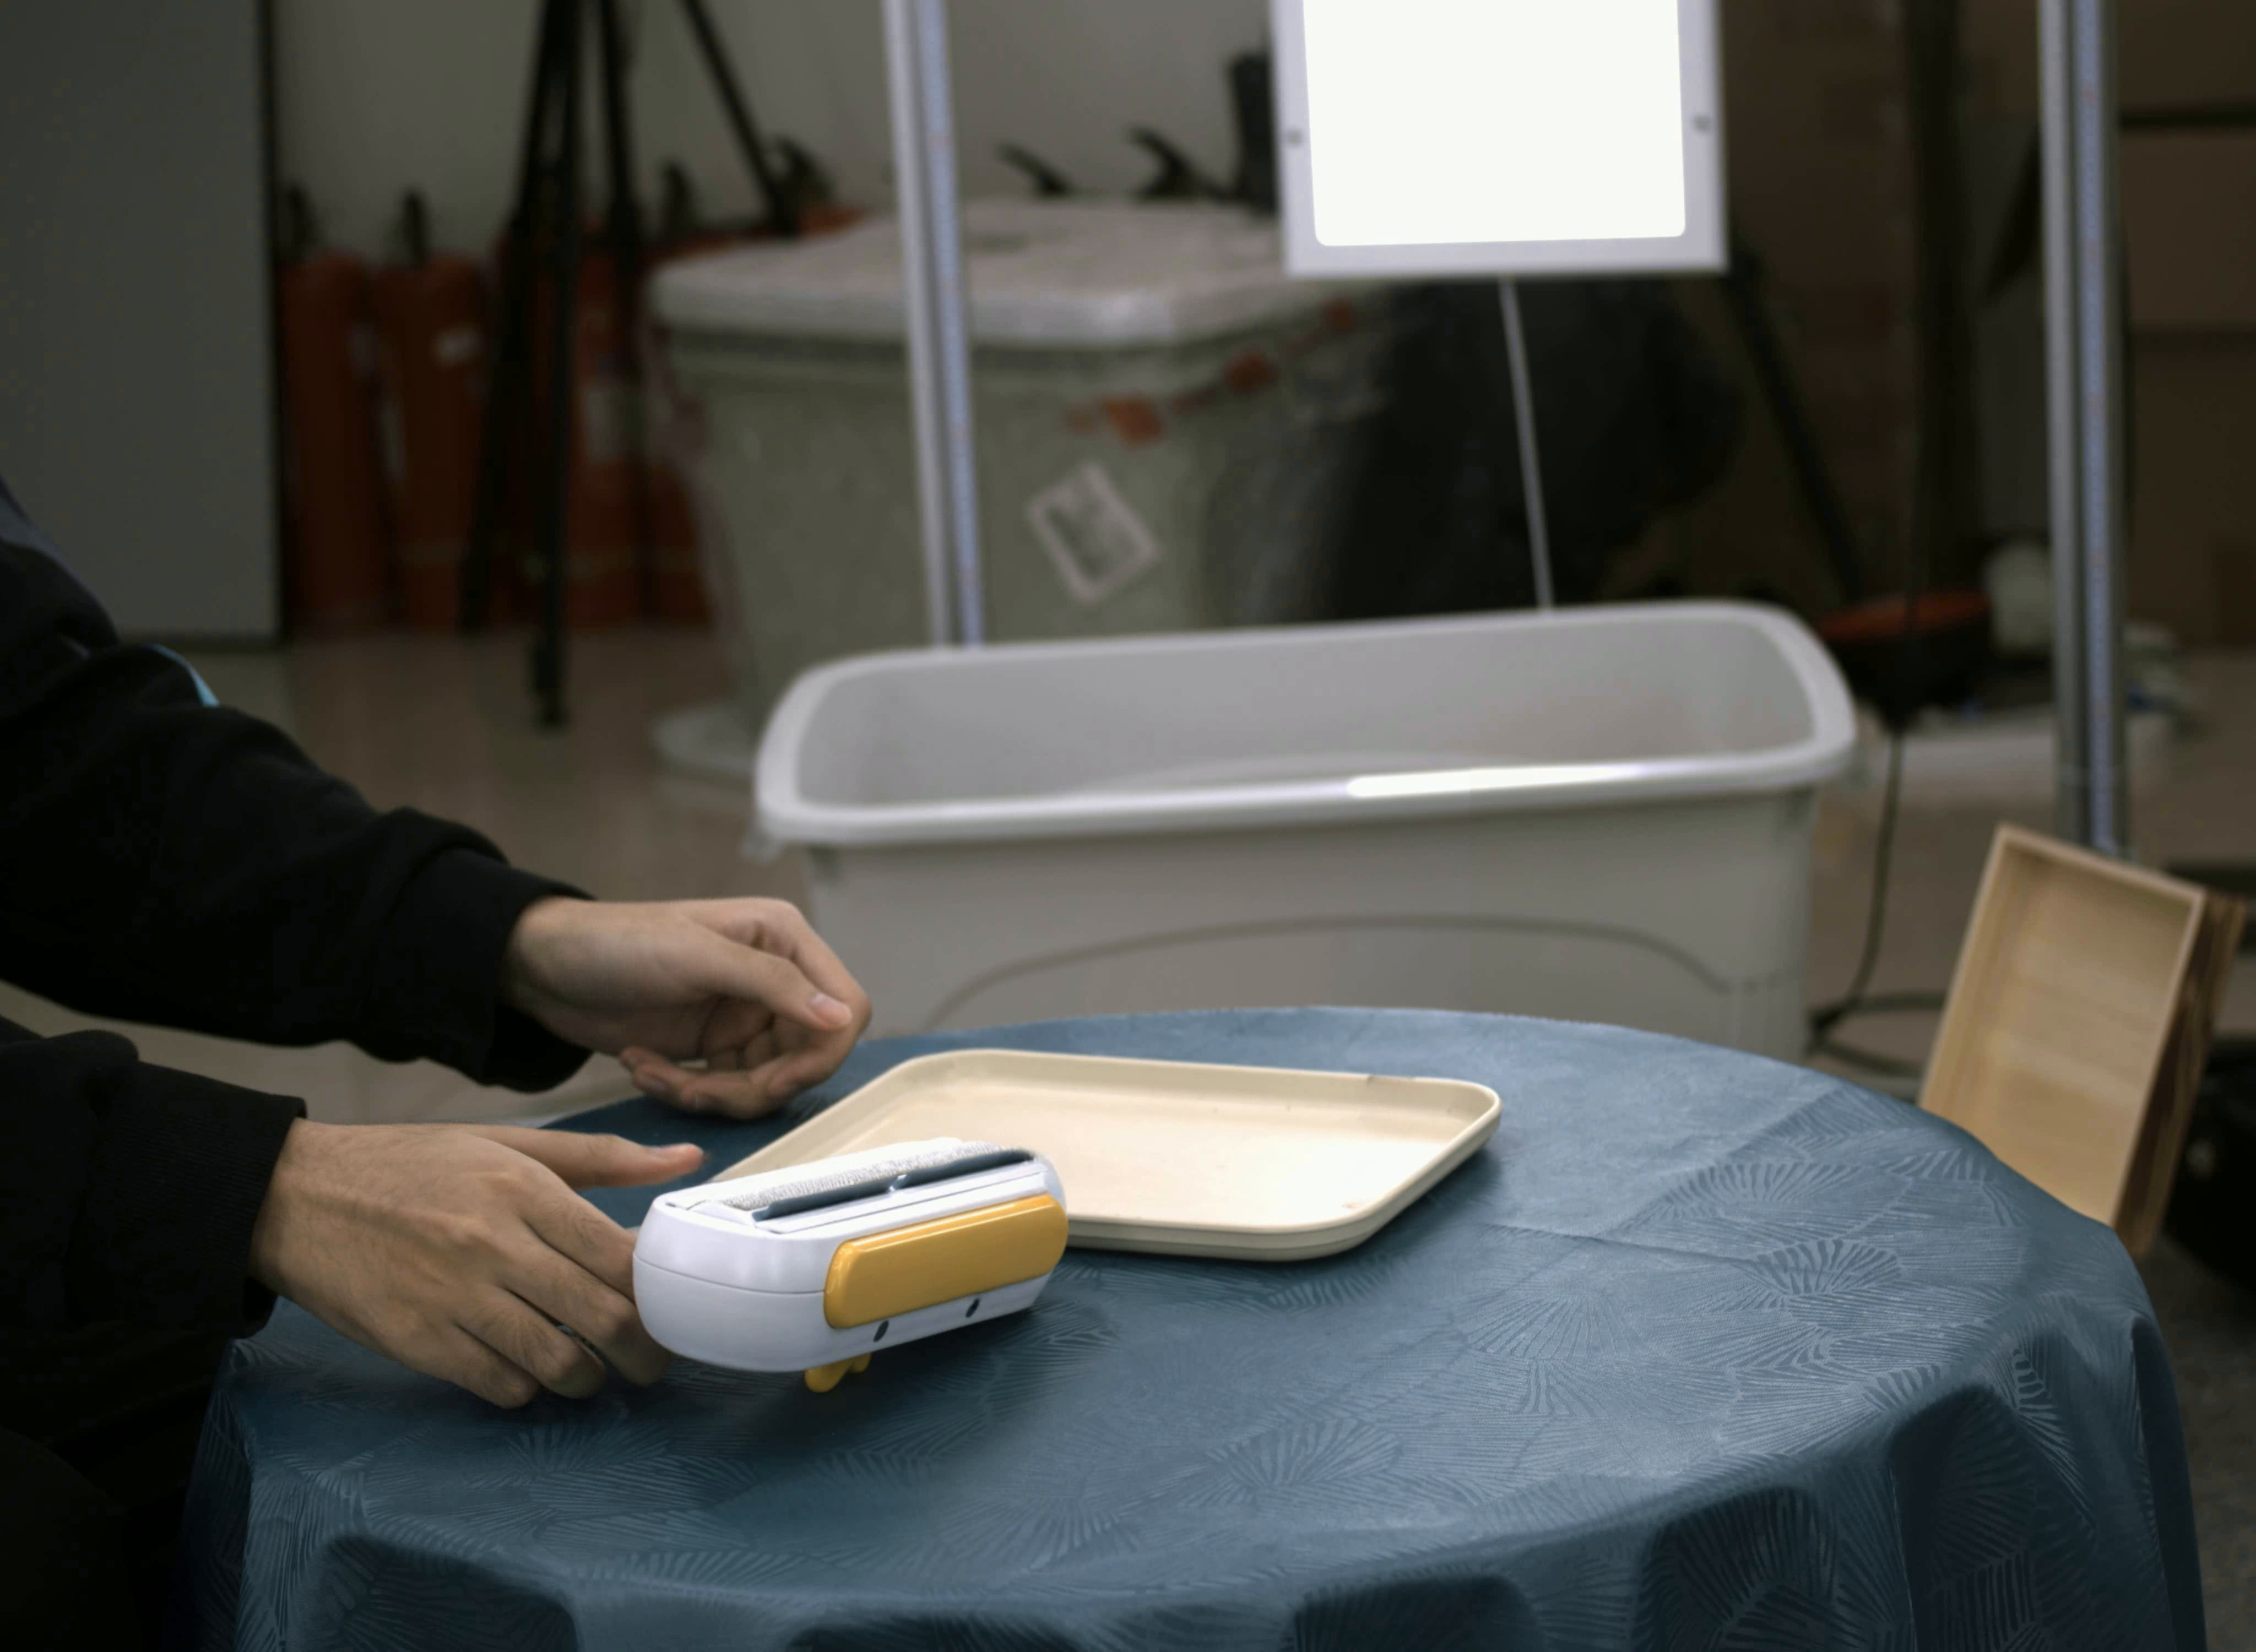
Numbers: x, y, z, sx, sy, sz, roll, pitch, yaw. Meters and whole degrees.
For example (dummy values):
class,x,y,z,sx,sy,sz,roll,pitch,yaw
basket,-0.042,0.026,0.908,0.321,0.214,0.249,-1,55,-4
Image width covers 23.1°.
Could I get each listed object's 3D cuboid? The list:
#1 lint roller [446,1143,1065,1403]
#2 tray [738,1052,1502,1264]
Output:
class,x,y,z,sx,sy,sz,roll,pitch,yaw
lint roller,-0.138,0.139,1.753,0.196,0.074,0.188,2,9,33
tray,-0.002,0.114,1.908,0.244,0.017,0.167,2,16,28
